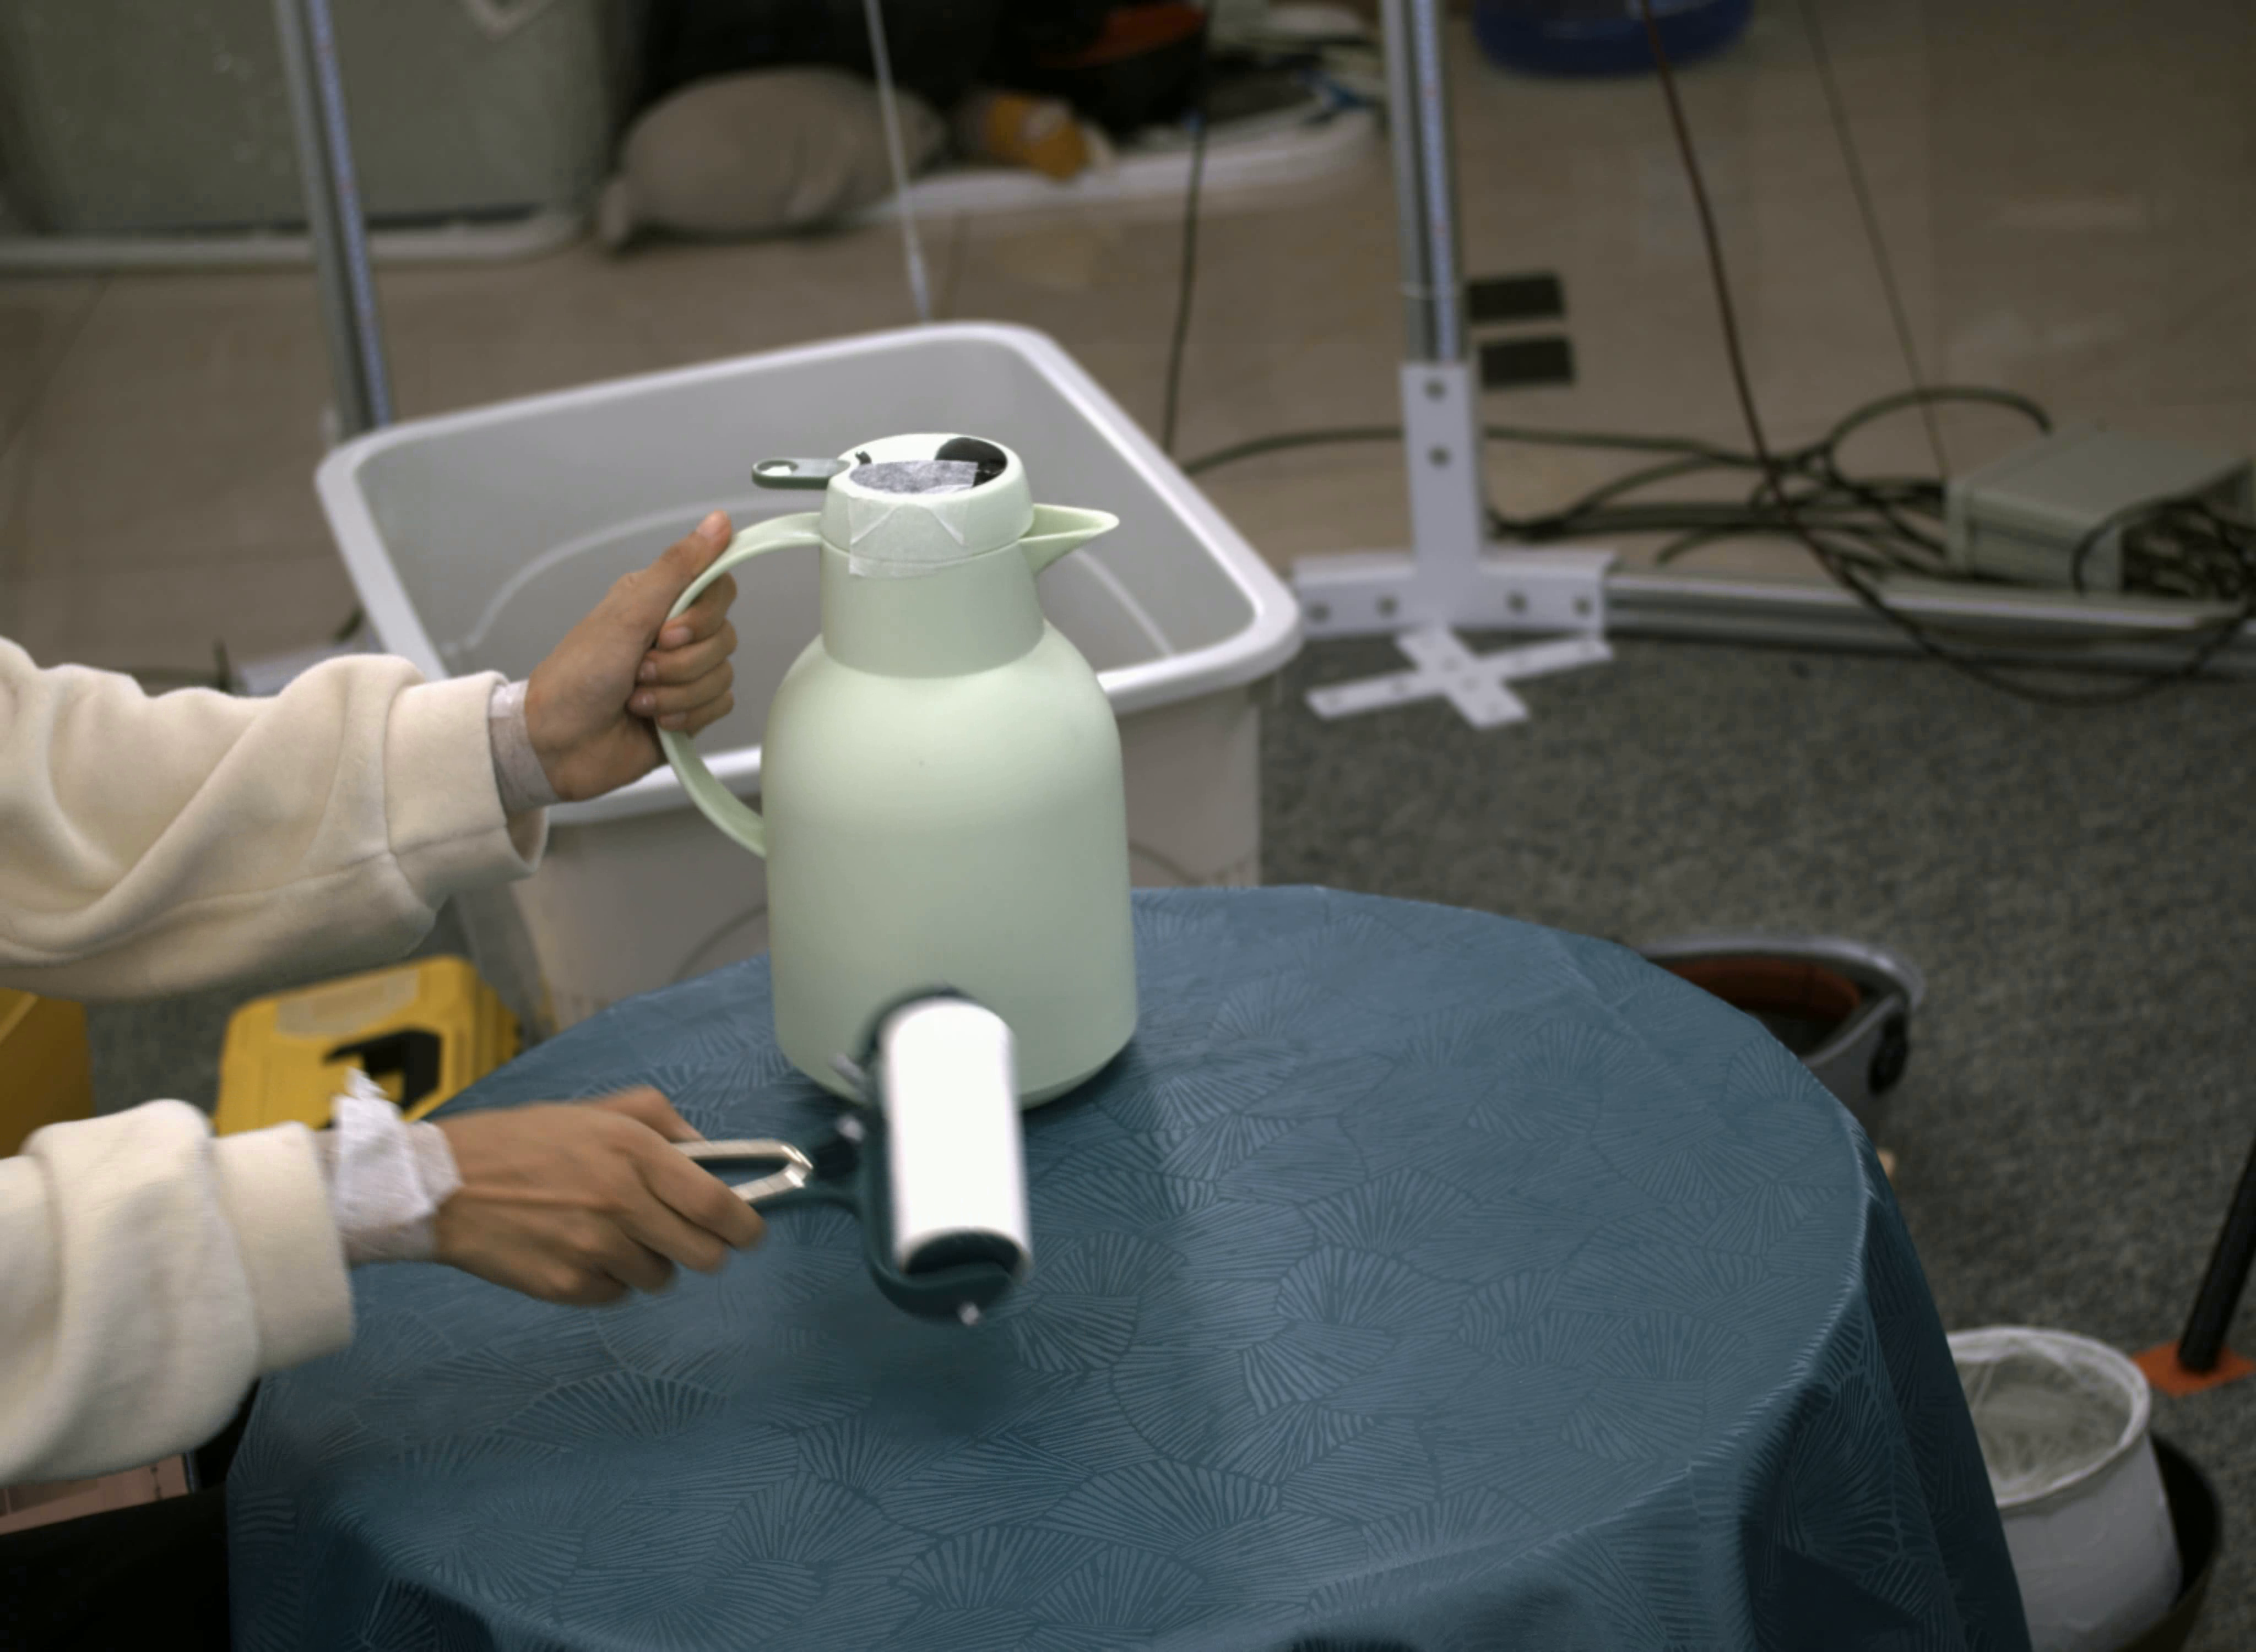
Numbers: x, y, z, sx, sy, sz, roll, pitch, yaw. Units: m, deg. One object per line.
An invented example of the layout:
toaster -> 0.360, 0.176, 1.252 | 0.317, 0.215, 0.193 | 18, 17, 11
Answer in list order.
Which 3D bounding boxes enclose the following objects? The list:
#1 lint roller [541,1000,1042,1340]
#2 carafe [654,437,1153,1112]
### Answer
lint roller -> -0.122, 0.127, 2.031 | 0.180, 0.049, 0.132 | -3, 50, -1
carafe -> -0.085, -0.022, 2.208 | 0.186, 0.261, 0.142 | -4, 27, 6
